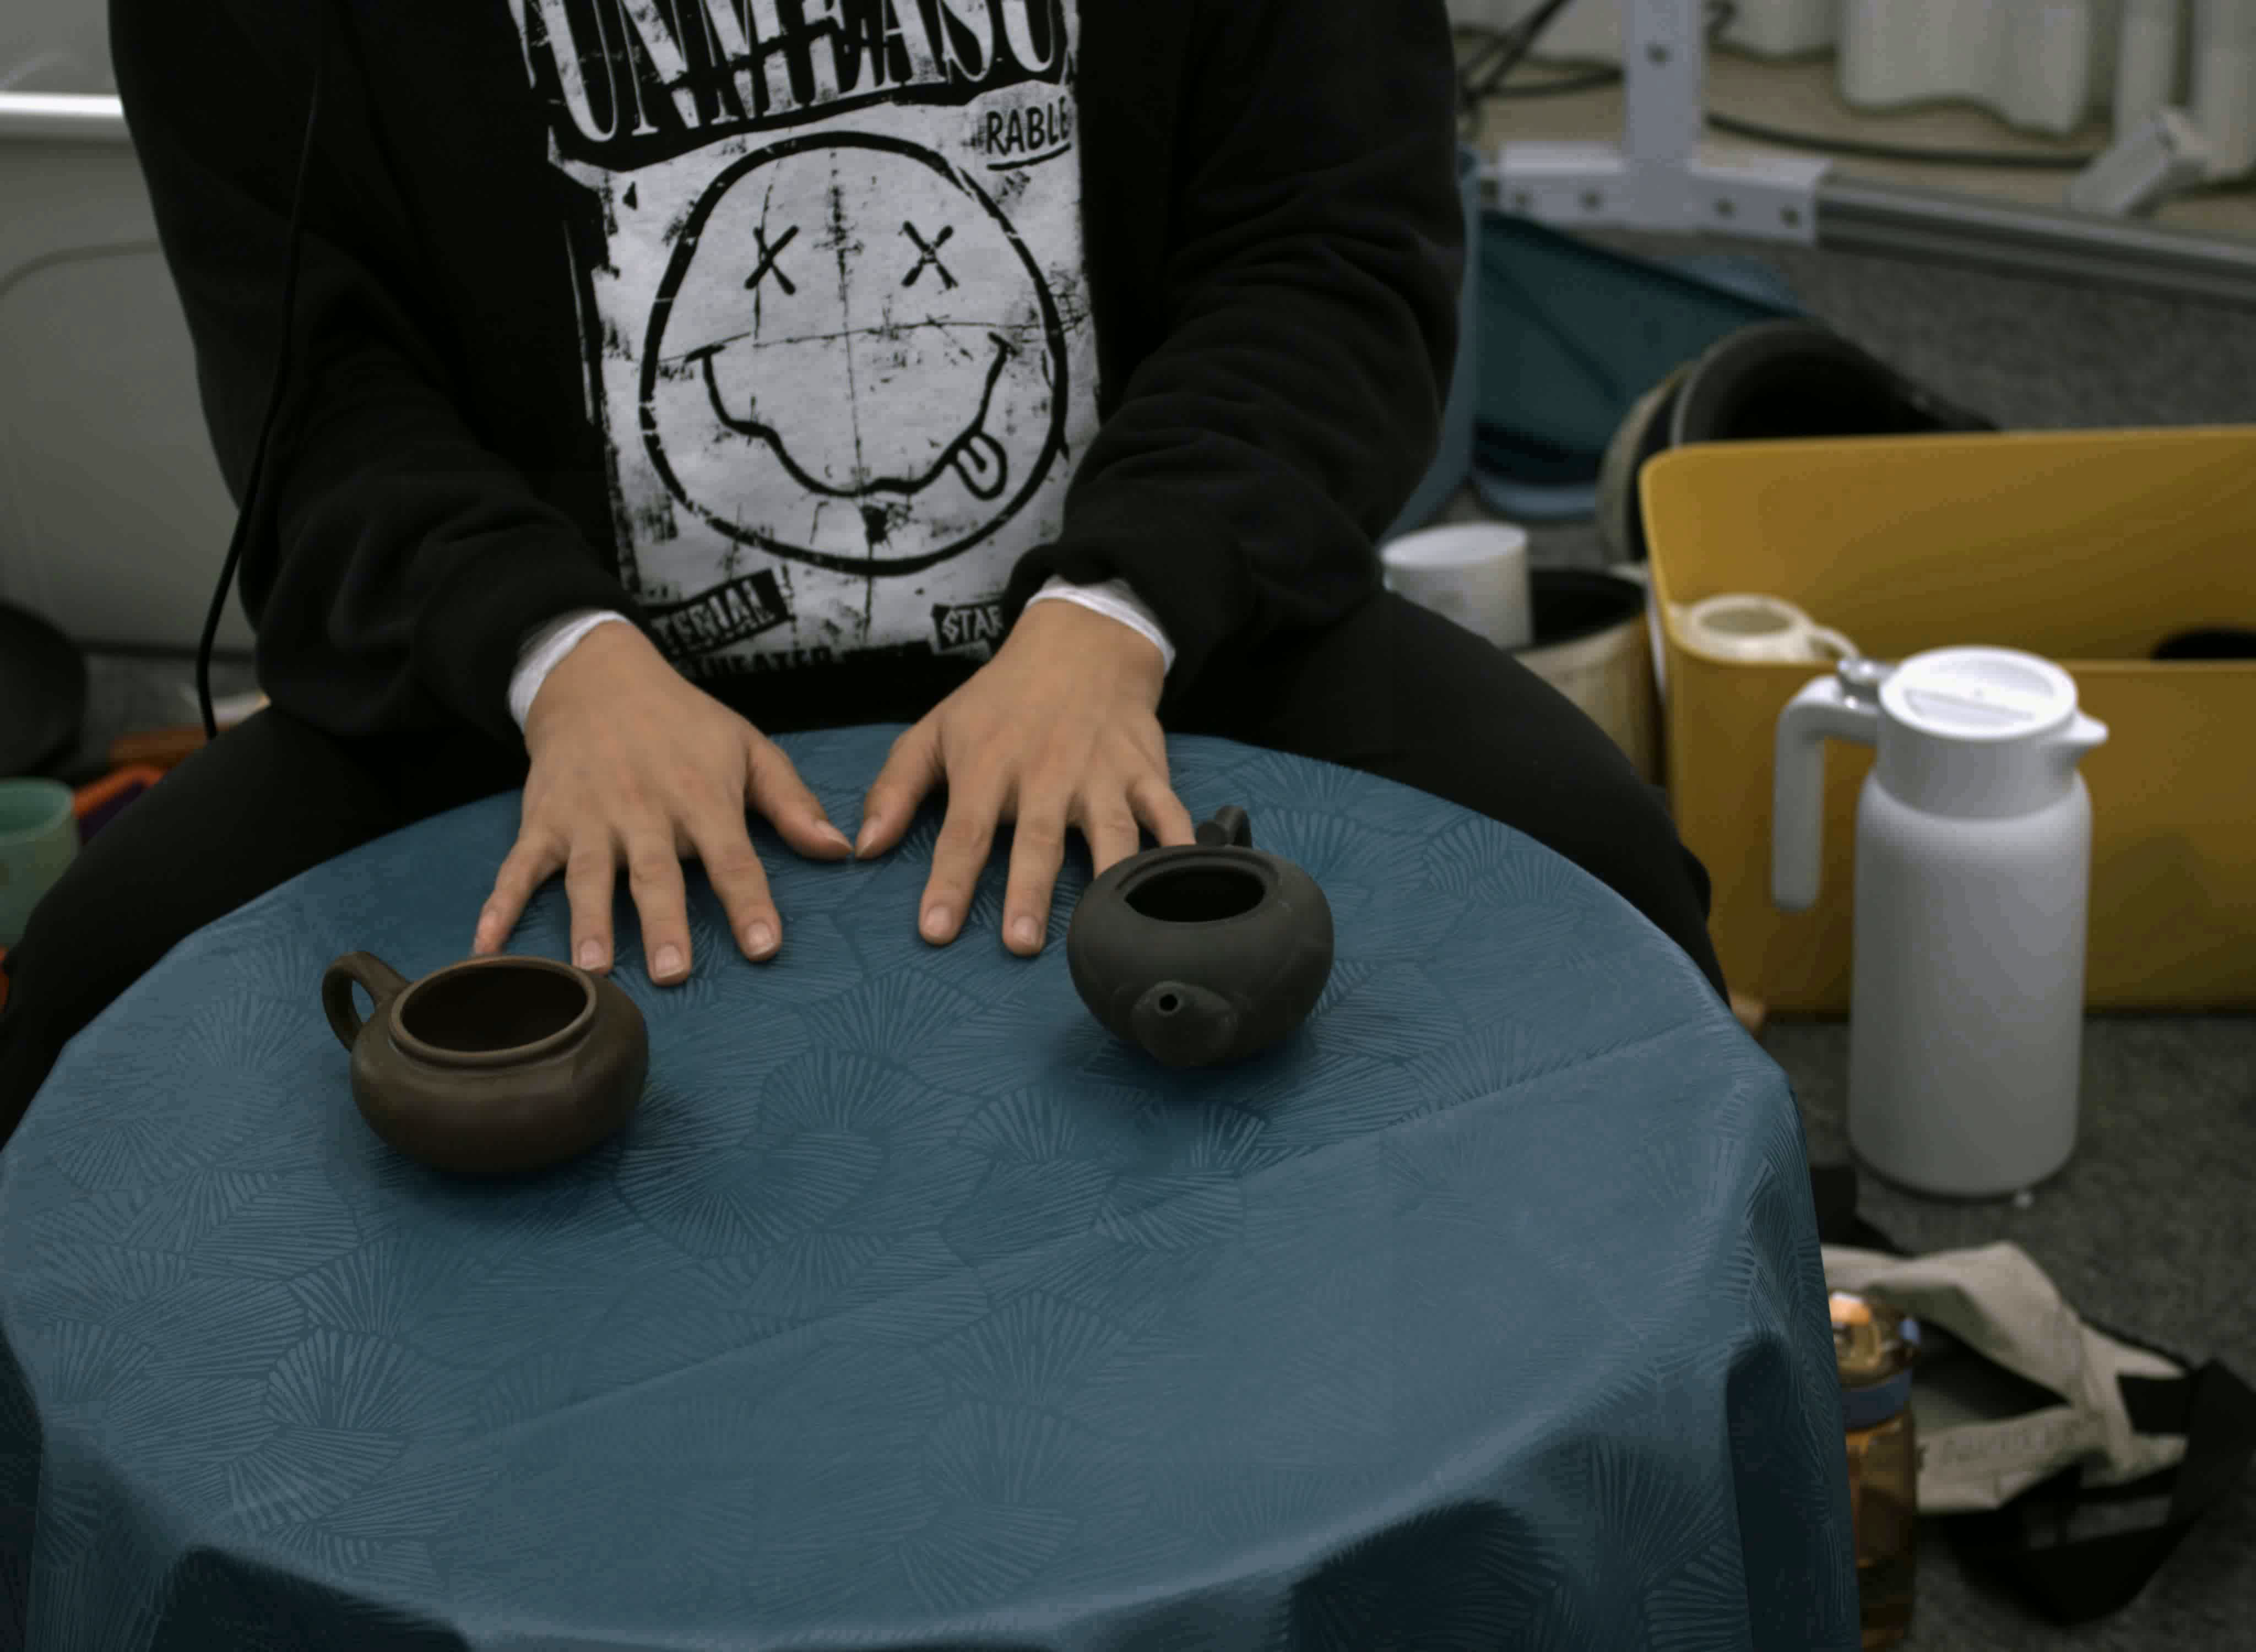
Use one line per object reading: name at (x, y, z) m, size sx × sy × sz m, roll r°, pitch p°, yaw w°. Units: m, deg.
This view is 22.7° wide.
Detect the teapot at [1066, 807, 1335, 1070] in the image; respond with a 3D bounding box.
teapot at (0.026, 0.042, 1.941) m, size 0.092 × 0.063 × 0.157 m, roll 4°, pitch 28°, yaw 9°

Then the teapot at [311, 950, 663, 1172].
teapot at (-0.217, 0.078, 1.904) m, size 0.153 × 0.053 × 0.104 m, roll 14°, pitch 29°, yaw 29°
